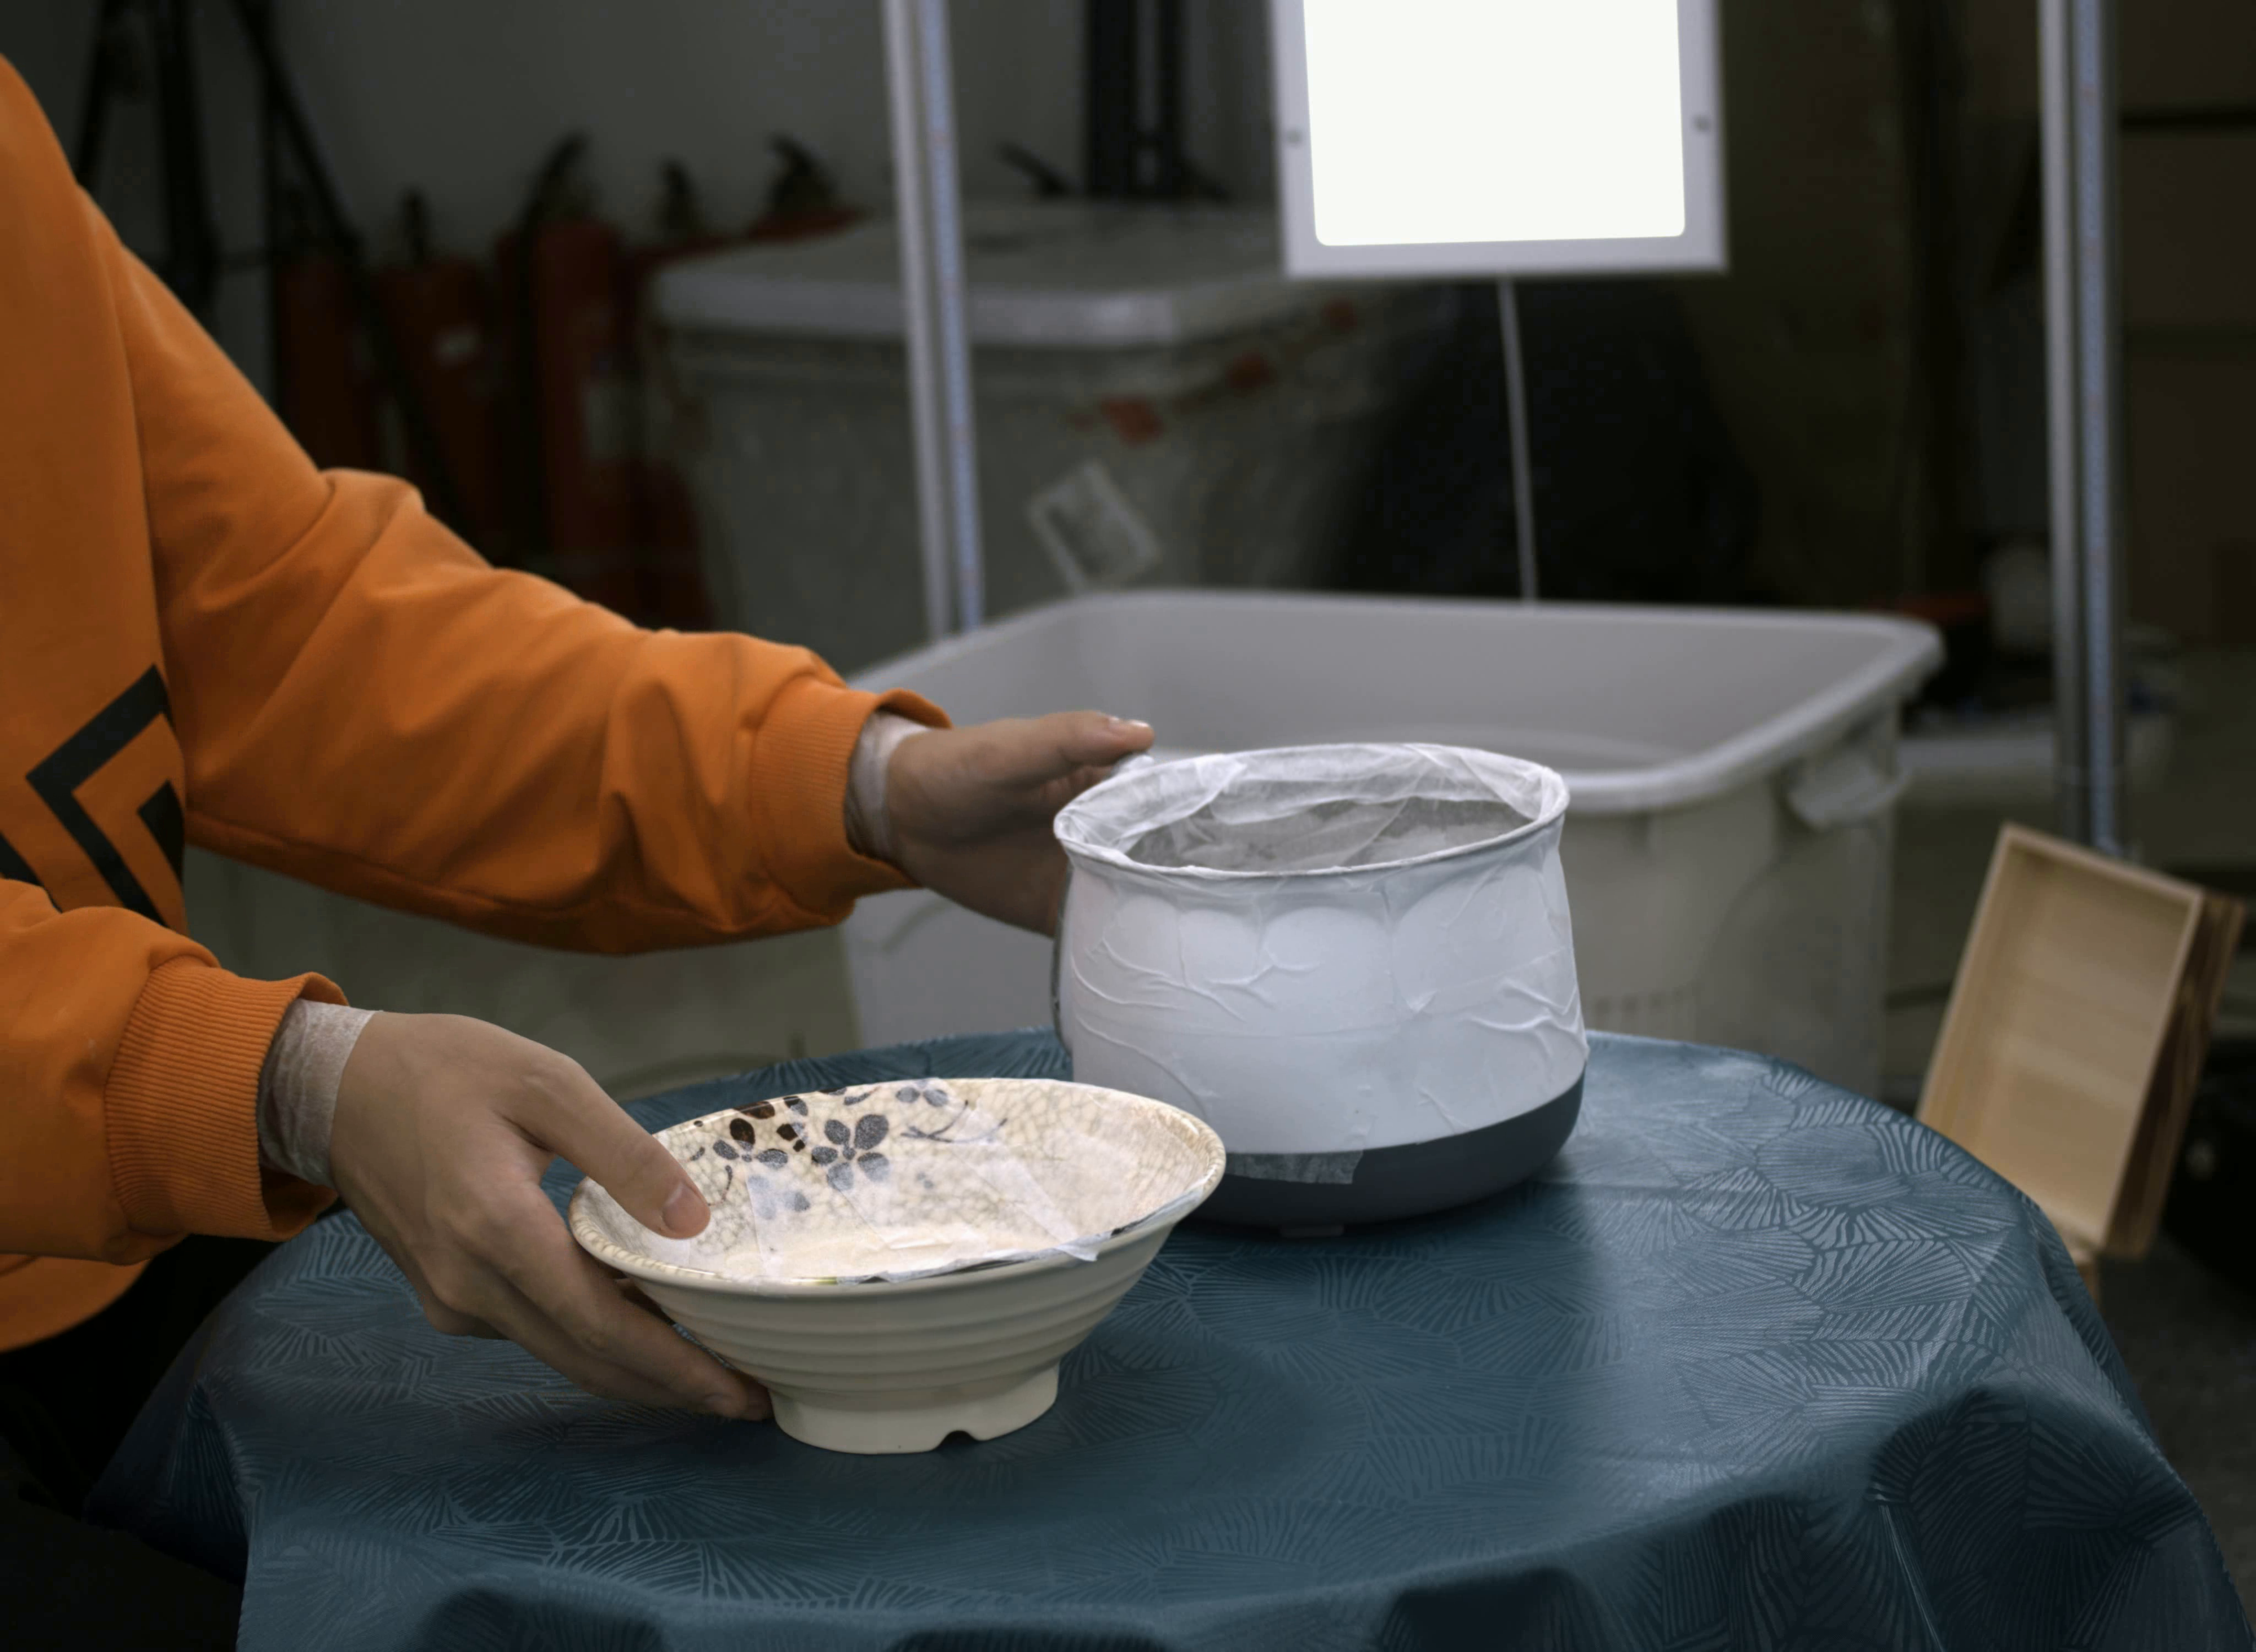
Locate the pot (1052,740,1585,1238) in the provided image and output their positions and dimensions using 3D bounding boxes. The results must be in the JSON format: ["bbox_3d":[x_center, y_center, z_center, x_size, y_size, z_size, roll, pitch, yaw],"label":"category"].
[{"bbox_3d":[0.050,0.050,1.902,0.174,0.137,0.238,-14,17,-35],"label":"pot"}]

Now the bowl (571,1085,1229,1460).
[{"bbox_3d":[-0.066,0.144,1.695,0.203,0.078,0.204,-7,13,0],"label":"bowl"}]
